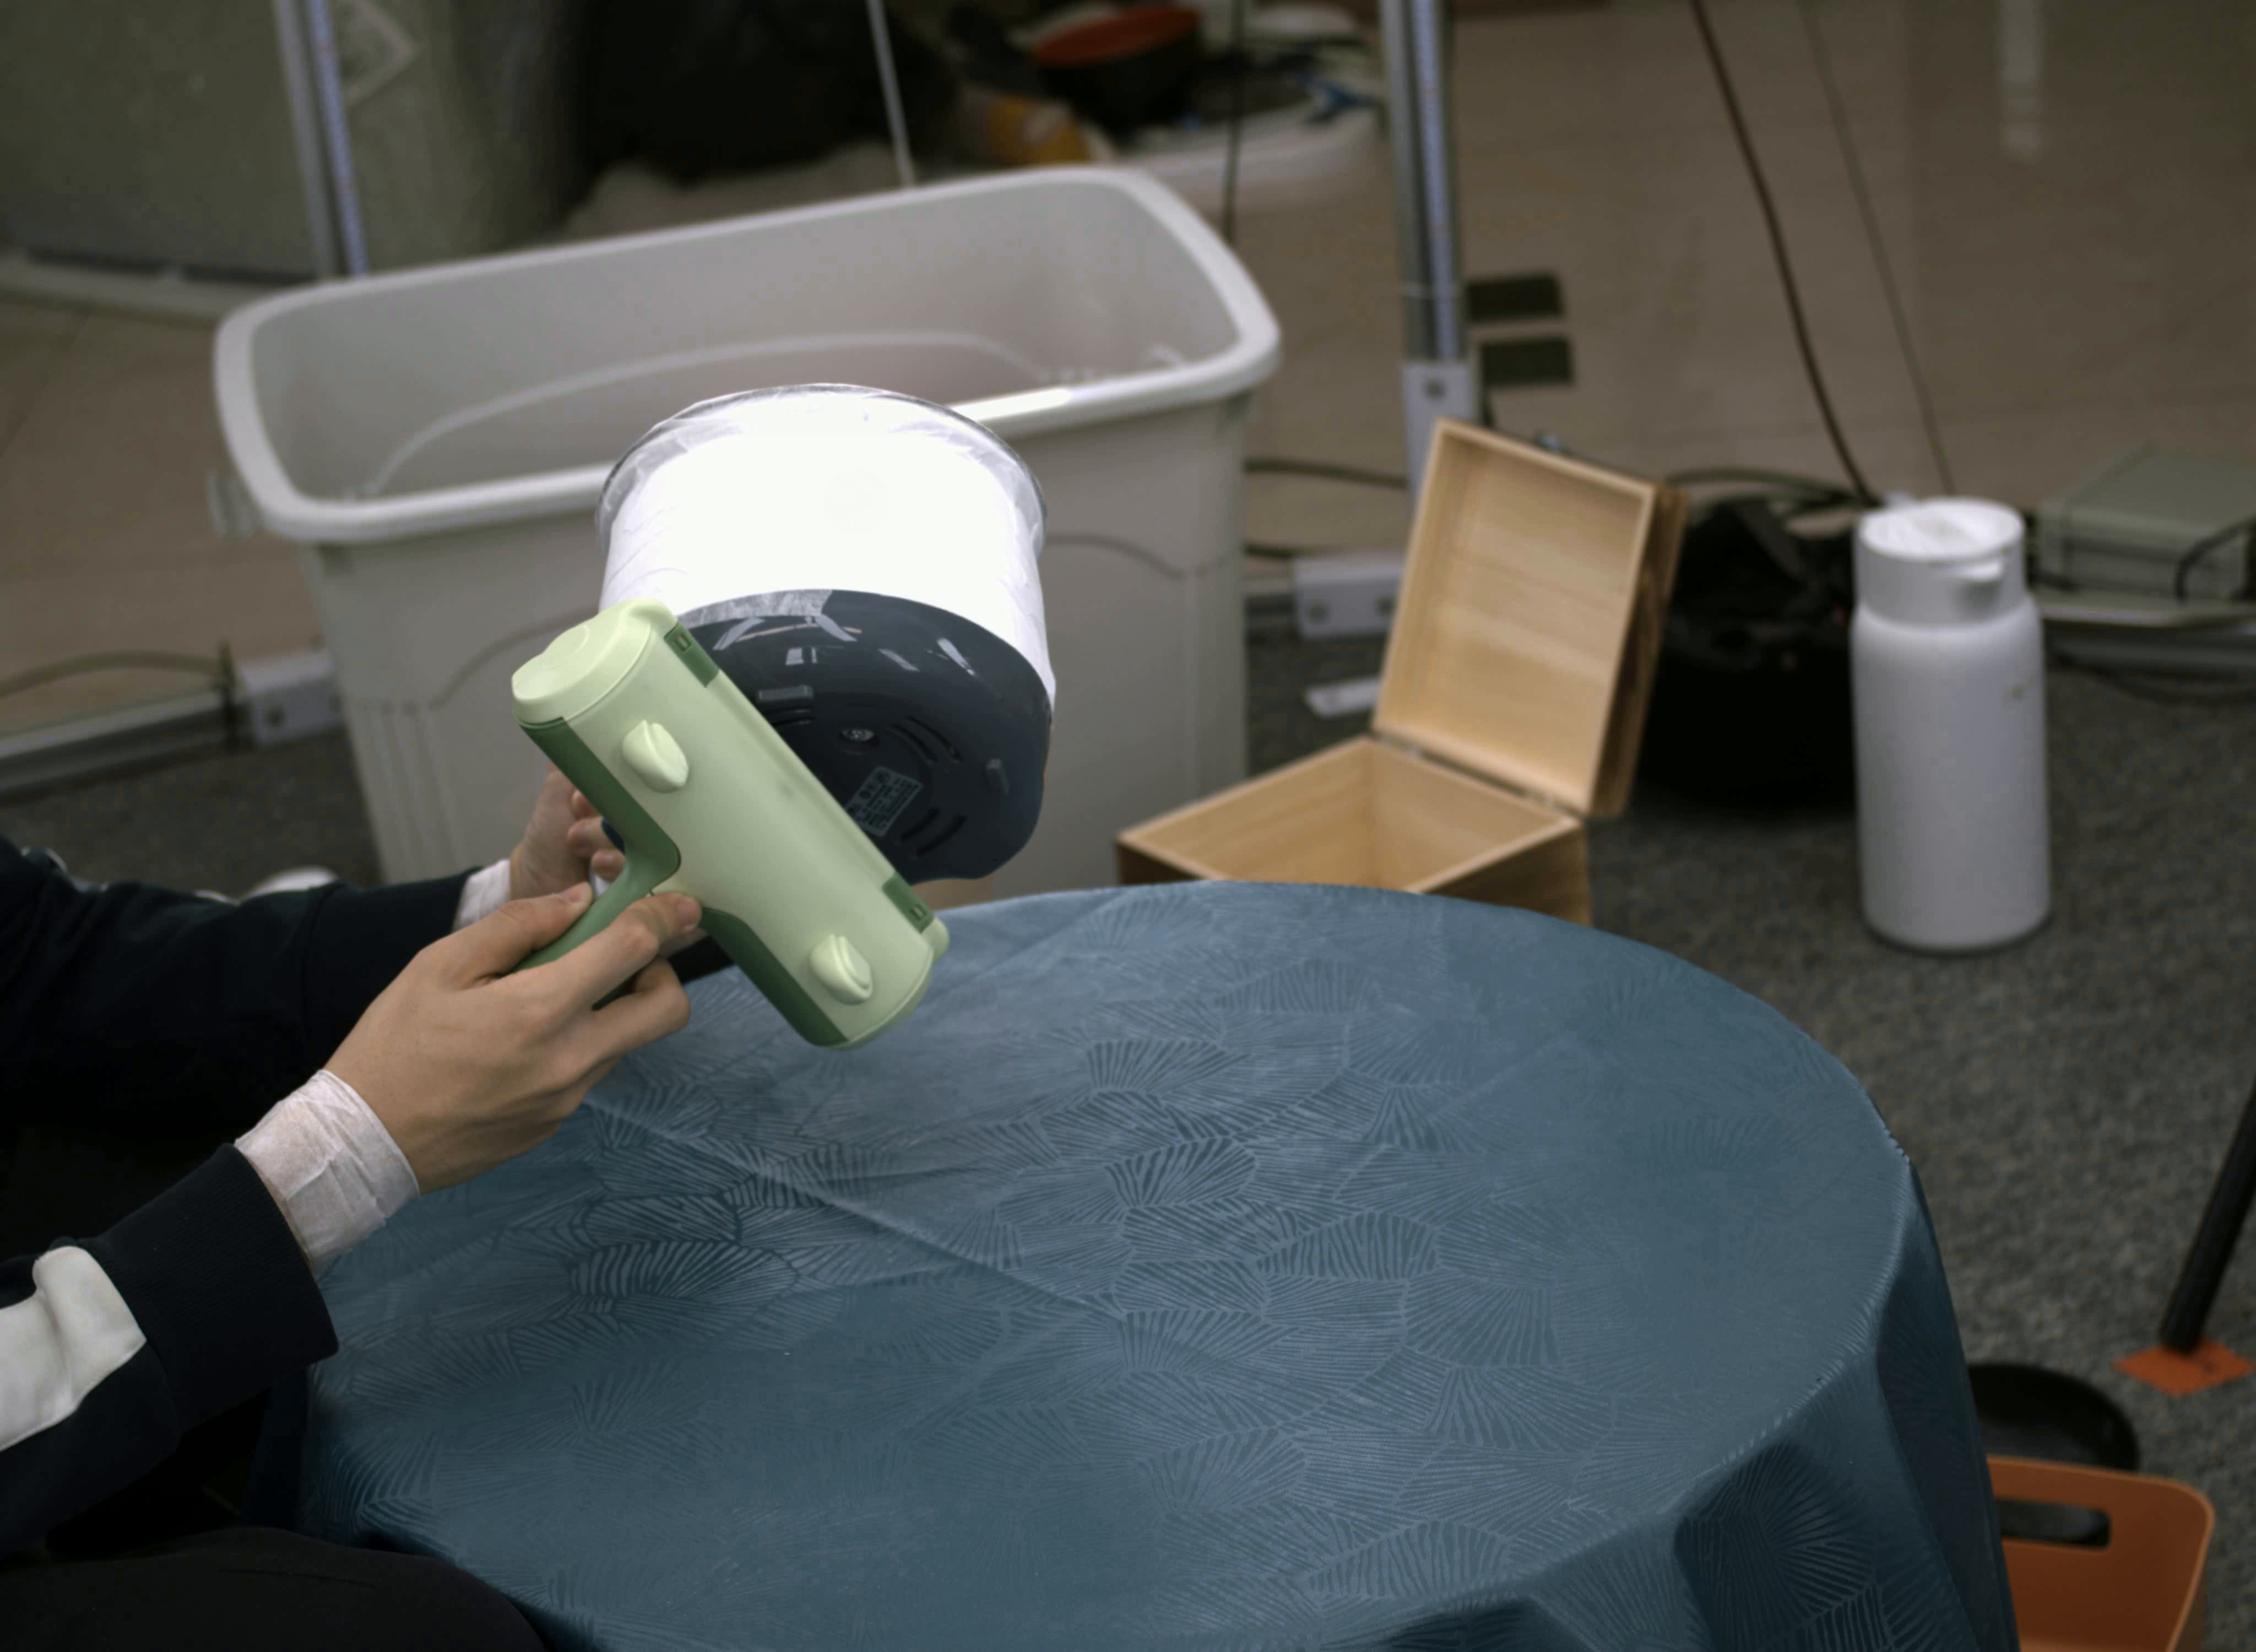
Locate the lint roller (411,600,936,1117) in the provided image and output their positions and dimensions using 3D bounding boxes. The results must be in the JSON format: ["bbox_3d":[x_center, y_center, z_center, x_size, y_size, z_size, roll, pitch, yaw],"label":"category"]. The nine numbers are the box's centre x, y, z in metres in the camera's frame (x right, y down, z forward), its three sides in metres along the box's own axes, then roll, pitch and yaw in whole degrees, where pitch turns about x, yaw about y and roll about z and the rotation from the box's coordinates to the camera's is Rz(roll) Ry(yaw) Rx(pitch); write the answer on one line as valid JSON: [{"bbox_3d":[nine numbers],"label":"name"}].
[{"bbox_3d":[-0.183,0.044,2.067,0.182,0.201,0.081,-47,32,-13],"label":"lint roller"}]

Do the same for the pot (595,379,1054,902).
[{"bbox_3d":[-0.134,-0.054,2.187,0.180,0.236,0.134,22,51,-30],"label":"pot"}]
